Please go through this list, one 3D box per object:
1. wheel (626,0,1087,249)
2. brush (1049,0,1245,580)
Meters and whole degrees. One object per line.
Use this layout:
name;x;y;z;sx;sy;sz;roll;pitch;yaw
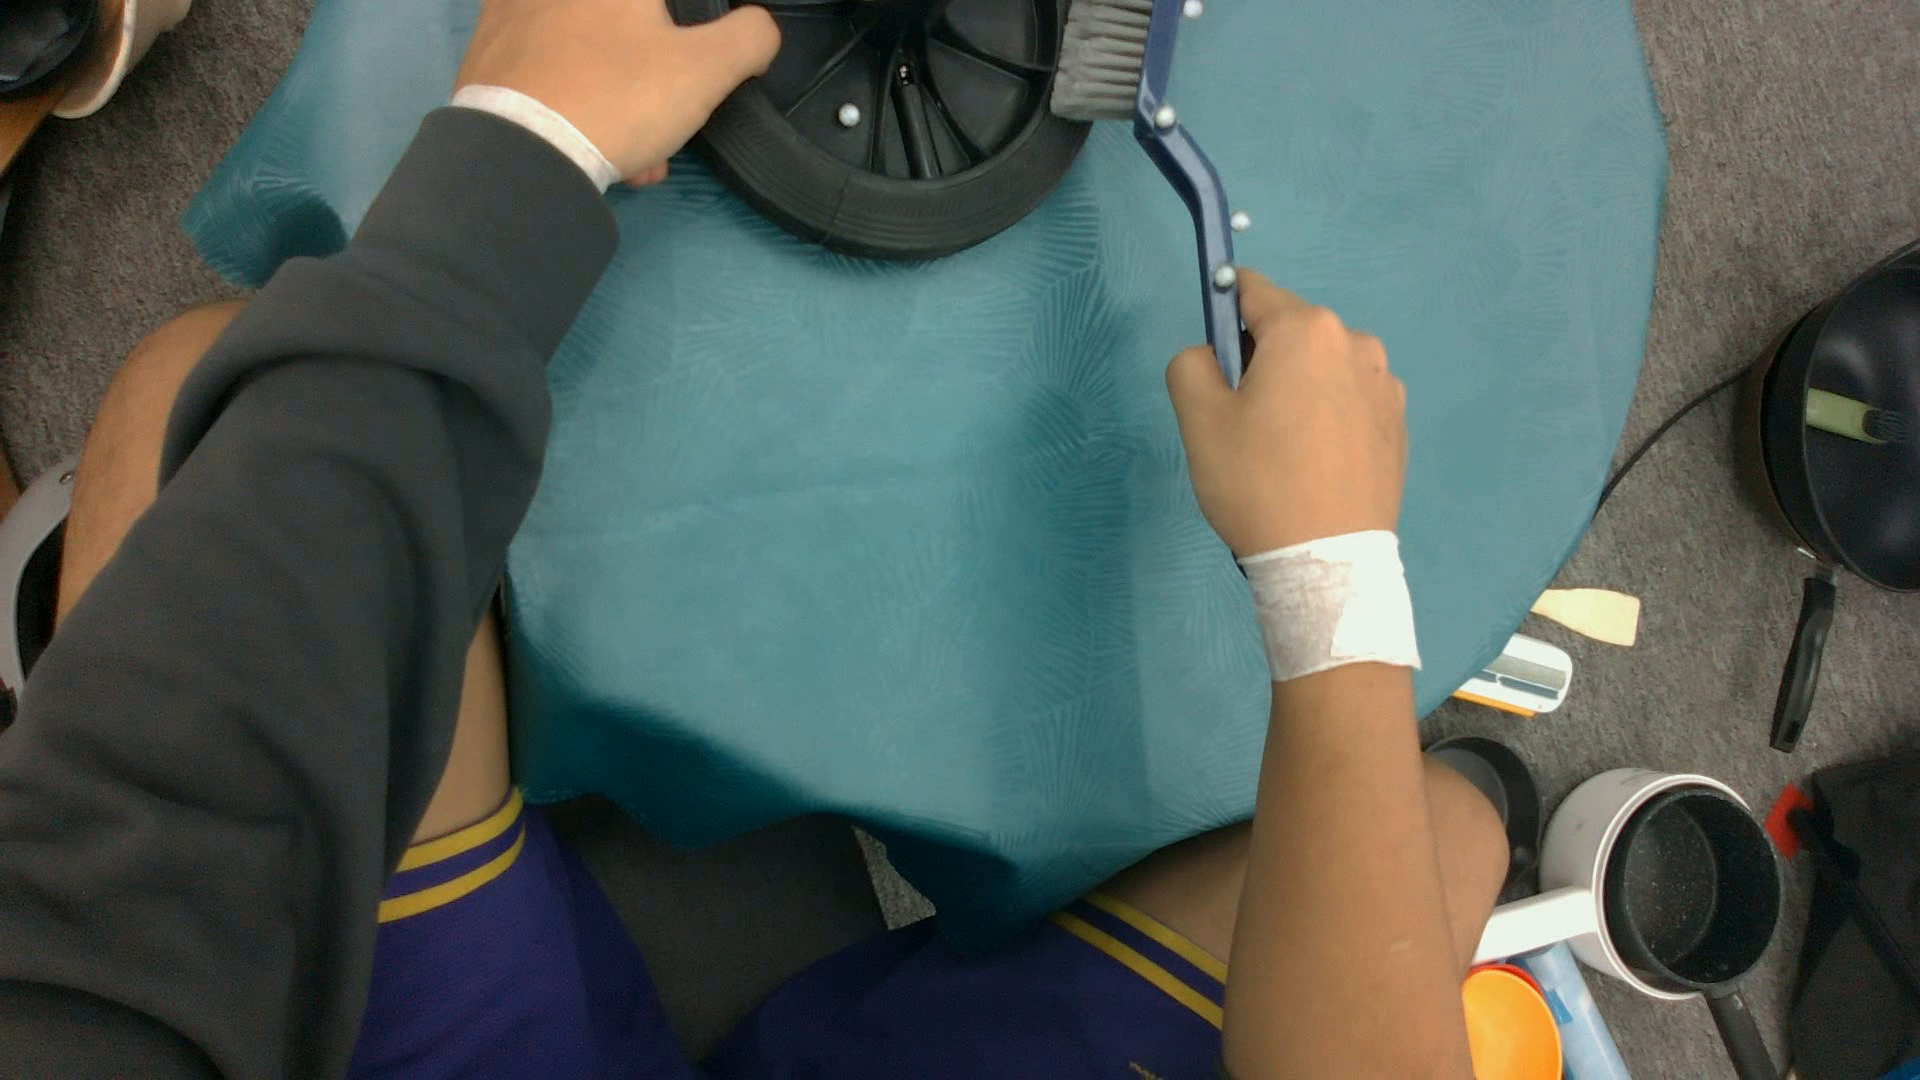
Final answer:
wheel;-0.028;-0.211;0.526;0.188;0.079;0.189;-42;104;-18
brush;0.099;-0.123;0.536;0.096;0.033;0.273;-14;81;0
